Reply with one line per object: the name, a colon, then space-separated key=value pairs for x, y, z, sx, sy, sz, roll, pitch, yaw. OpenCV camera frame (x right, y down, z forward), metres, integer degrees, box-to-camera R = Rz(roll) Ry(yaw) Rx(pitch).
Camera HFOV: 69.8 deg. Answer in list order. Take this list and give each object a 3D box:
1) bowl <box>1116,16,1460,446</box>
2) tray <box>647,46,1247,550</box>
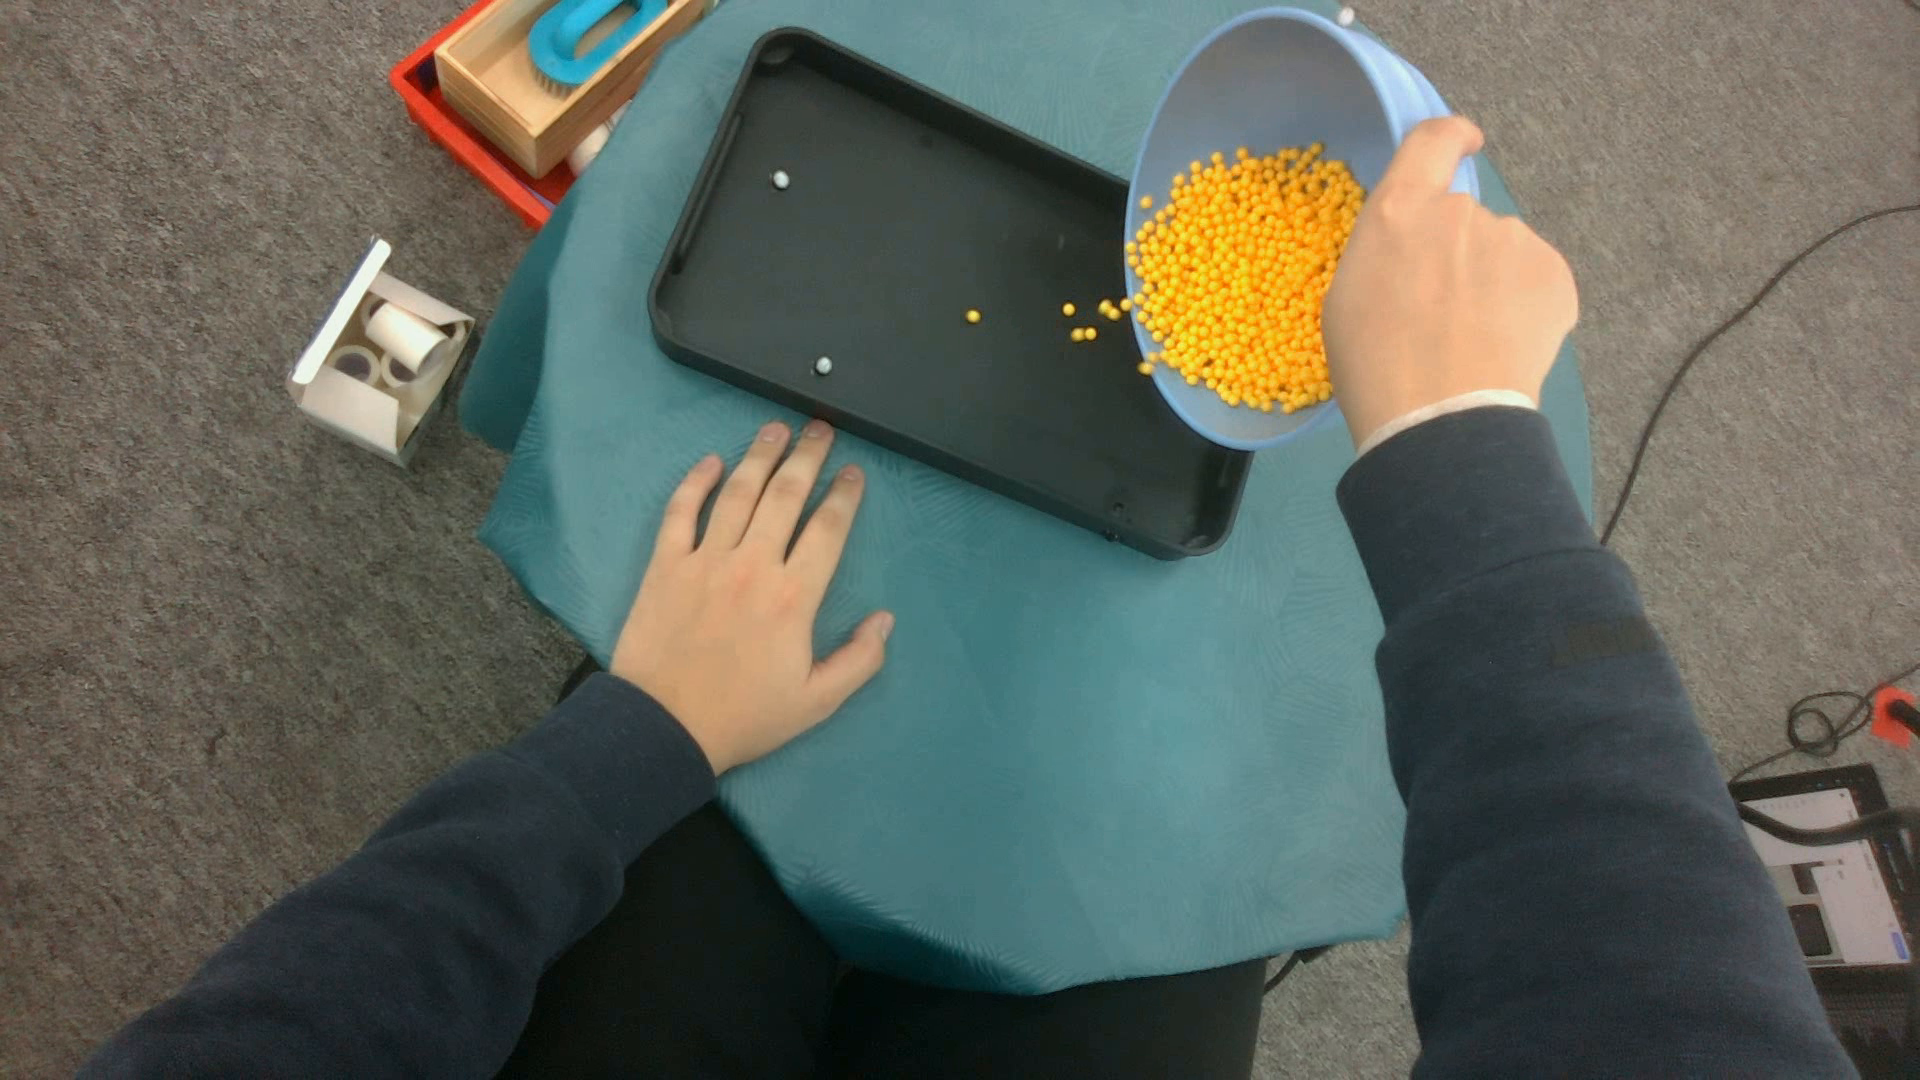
bowl: x=0.169 y=-0.146 z=0.667 sx=0.095 sy=0.195 sz=0.197 roll=-5 pitch=80 yaw=-27
tray: x=0.010 y=-0.124 z=0.733 sx=0.318 sy=0.037 sz=0.185 roll=19 pitch=75 yaw=-11
